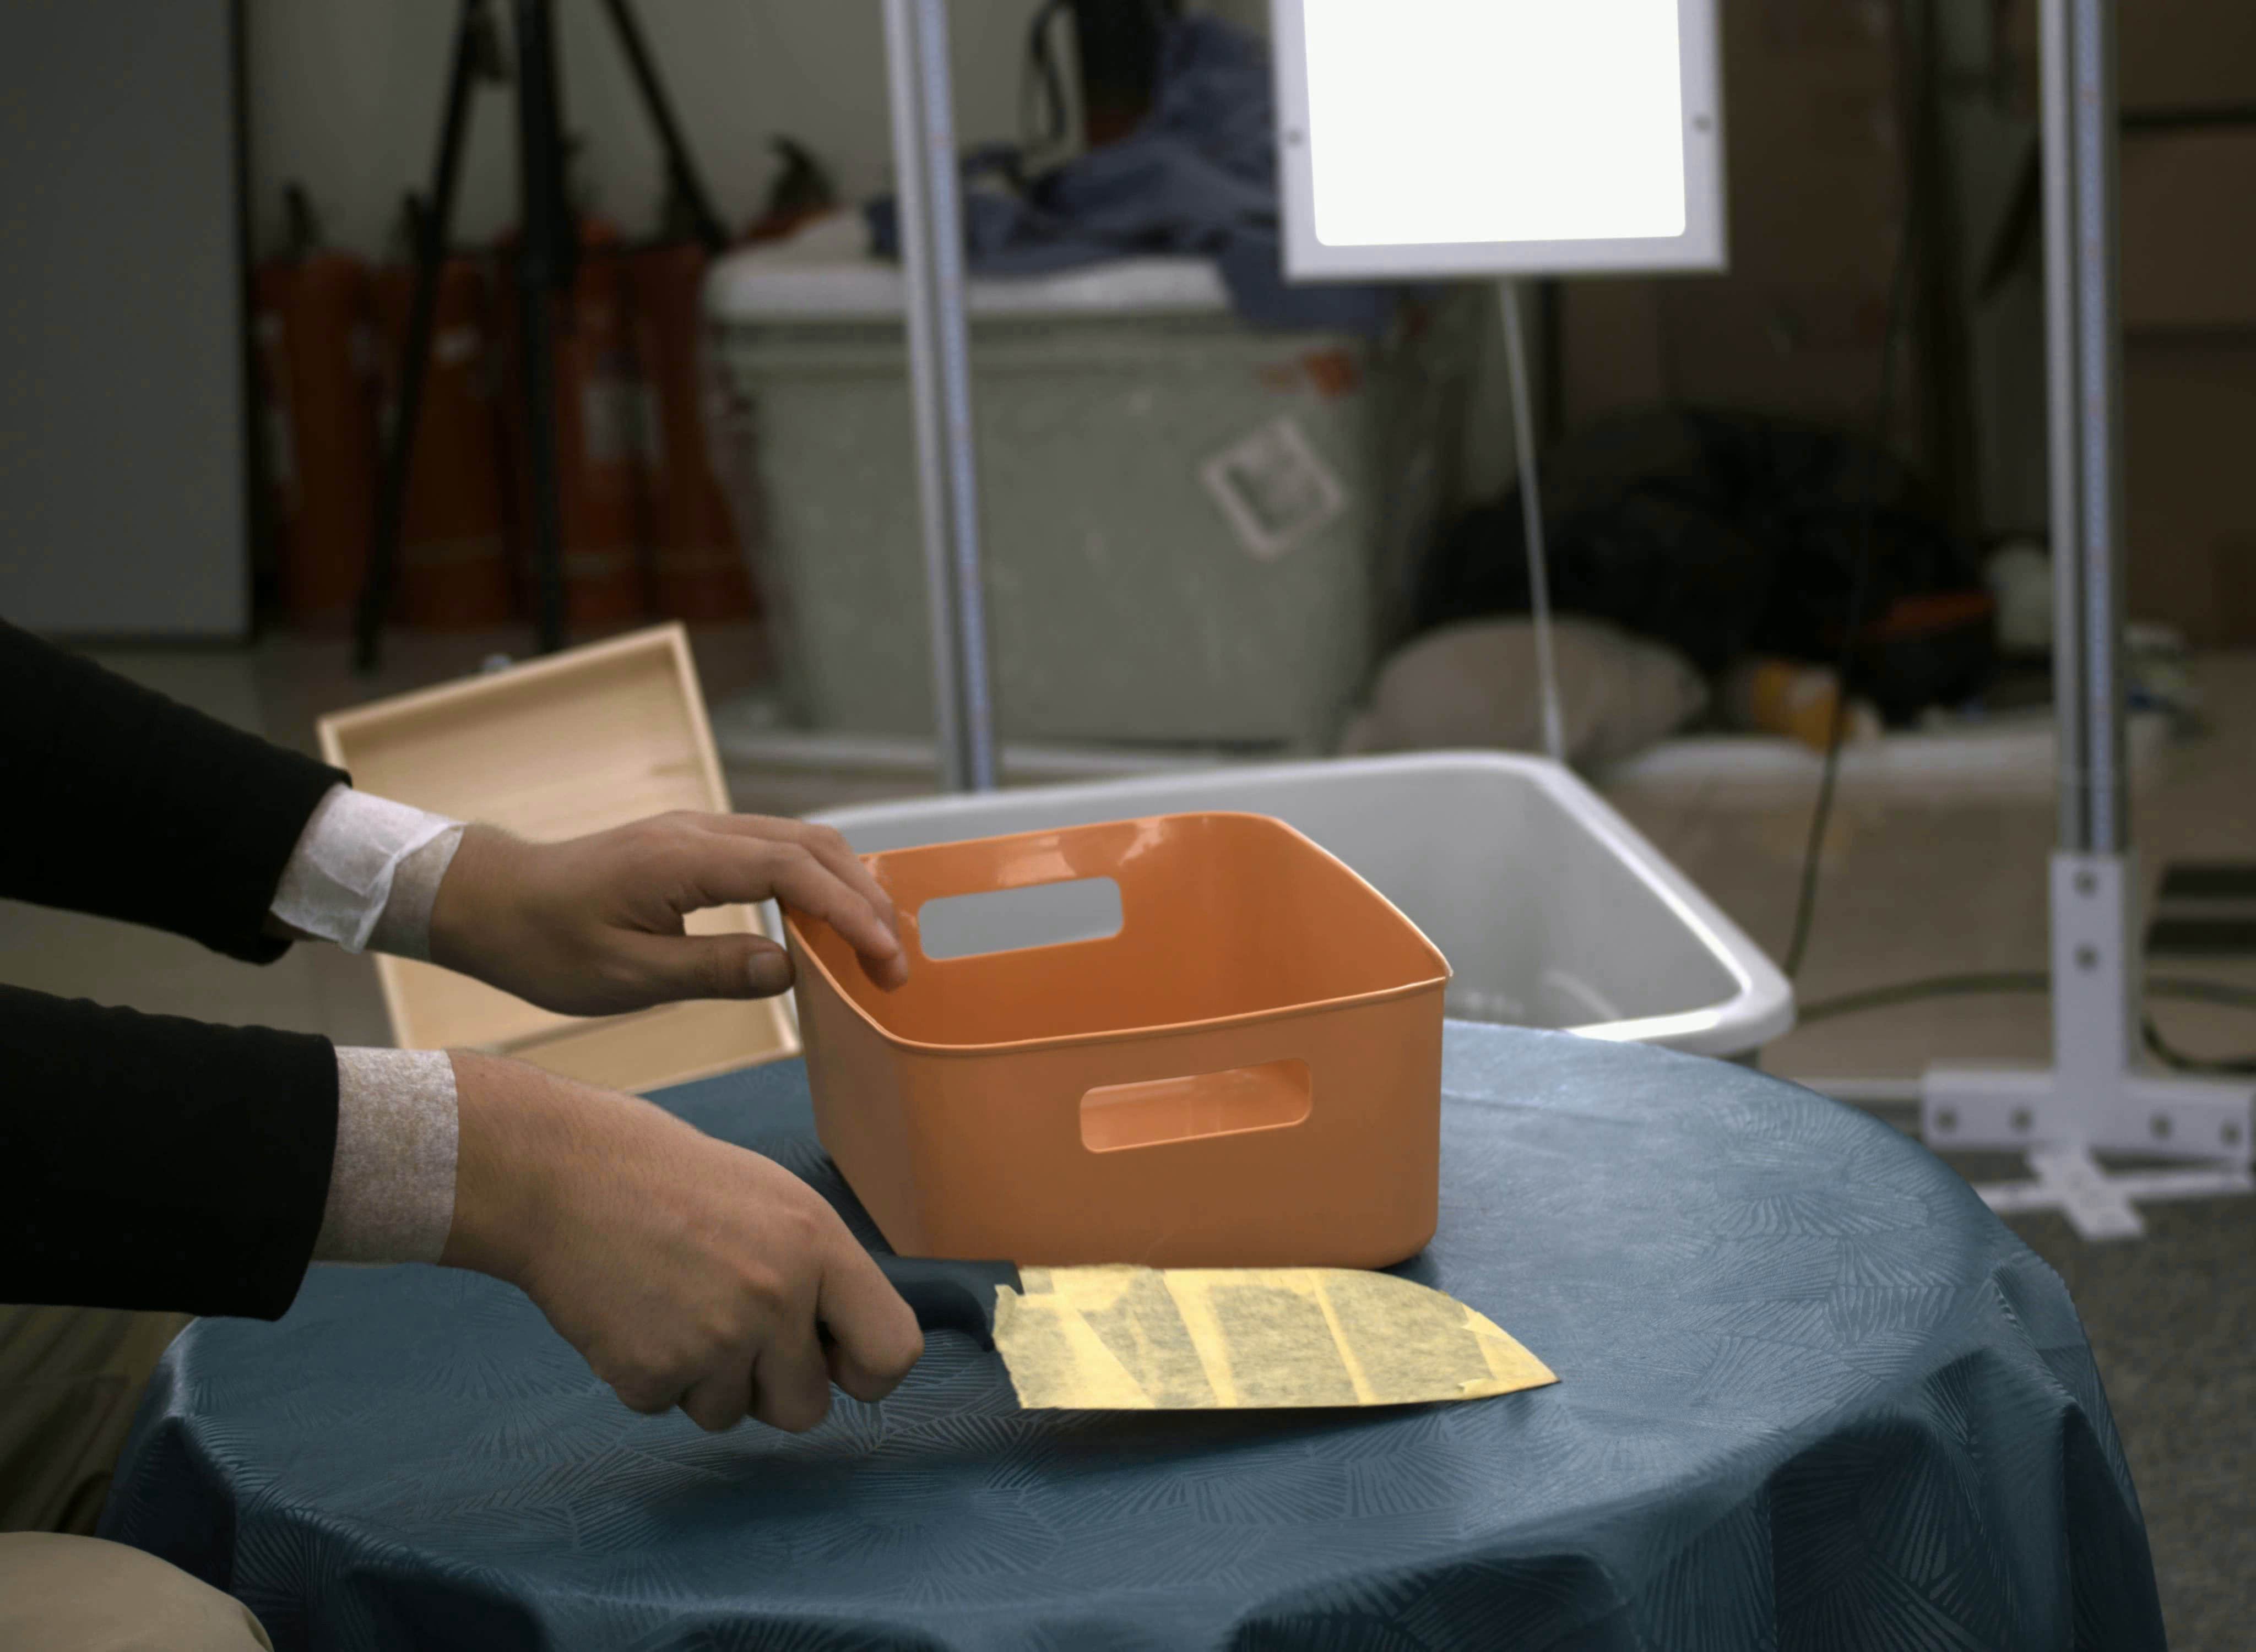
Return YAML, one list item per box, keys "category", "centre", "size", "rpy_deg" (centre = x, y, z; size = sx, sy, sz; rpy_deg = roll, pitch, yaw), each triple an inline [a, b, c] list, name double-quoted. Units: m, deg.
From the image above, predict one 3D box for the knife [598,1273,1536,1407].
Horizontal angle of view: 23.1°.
- category: "knife"
  centre: [-0.015, 0.156, 1.668]
  size: [0.286, 0.027, 0.081]
  rpy_deg: [0, 23, -9]

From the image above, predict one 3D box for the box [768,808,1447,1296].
- category: "box"
  centre: [-0.010, 0.079, 1.878]
  size: [0.197, 0.103, 0.275]
  rpy_deg: [-7, 14, -11]
